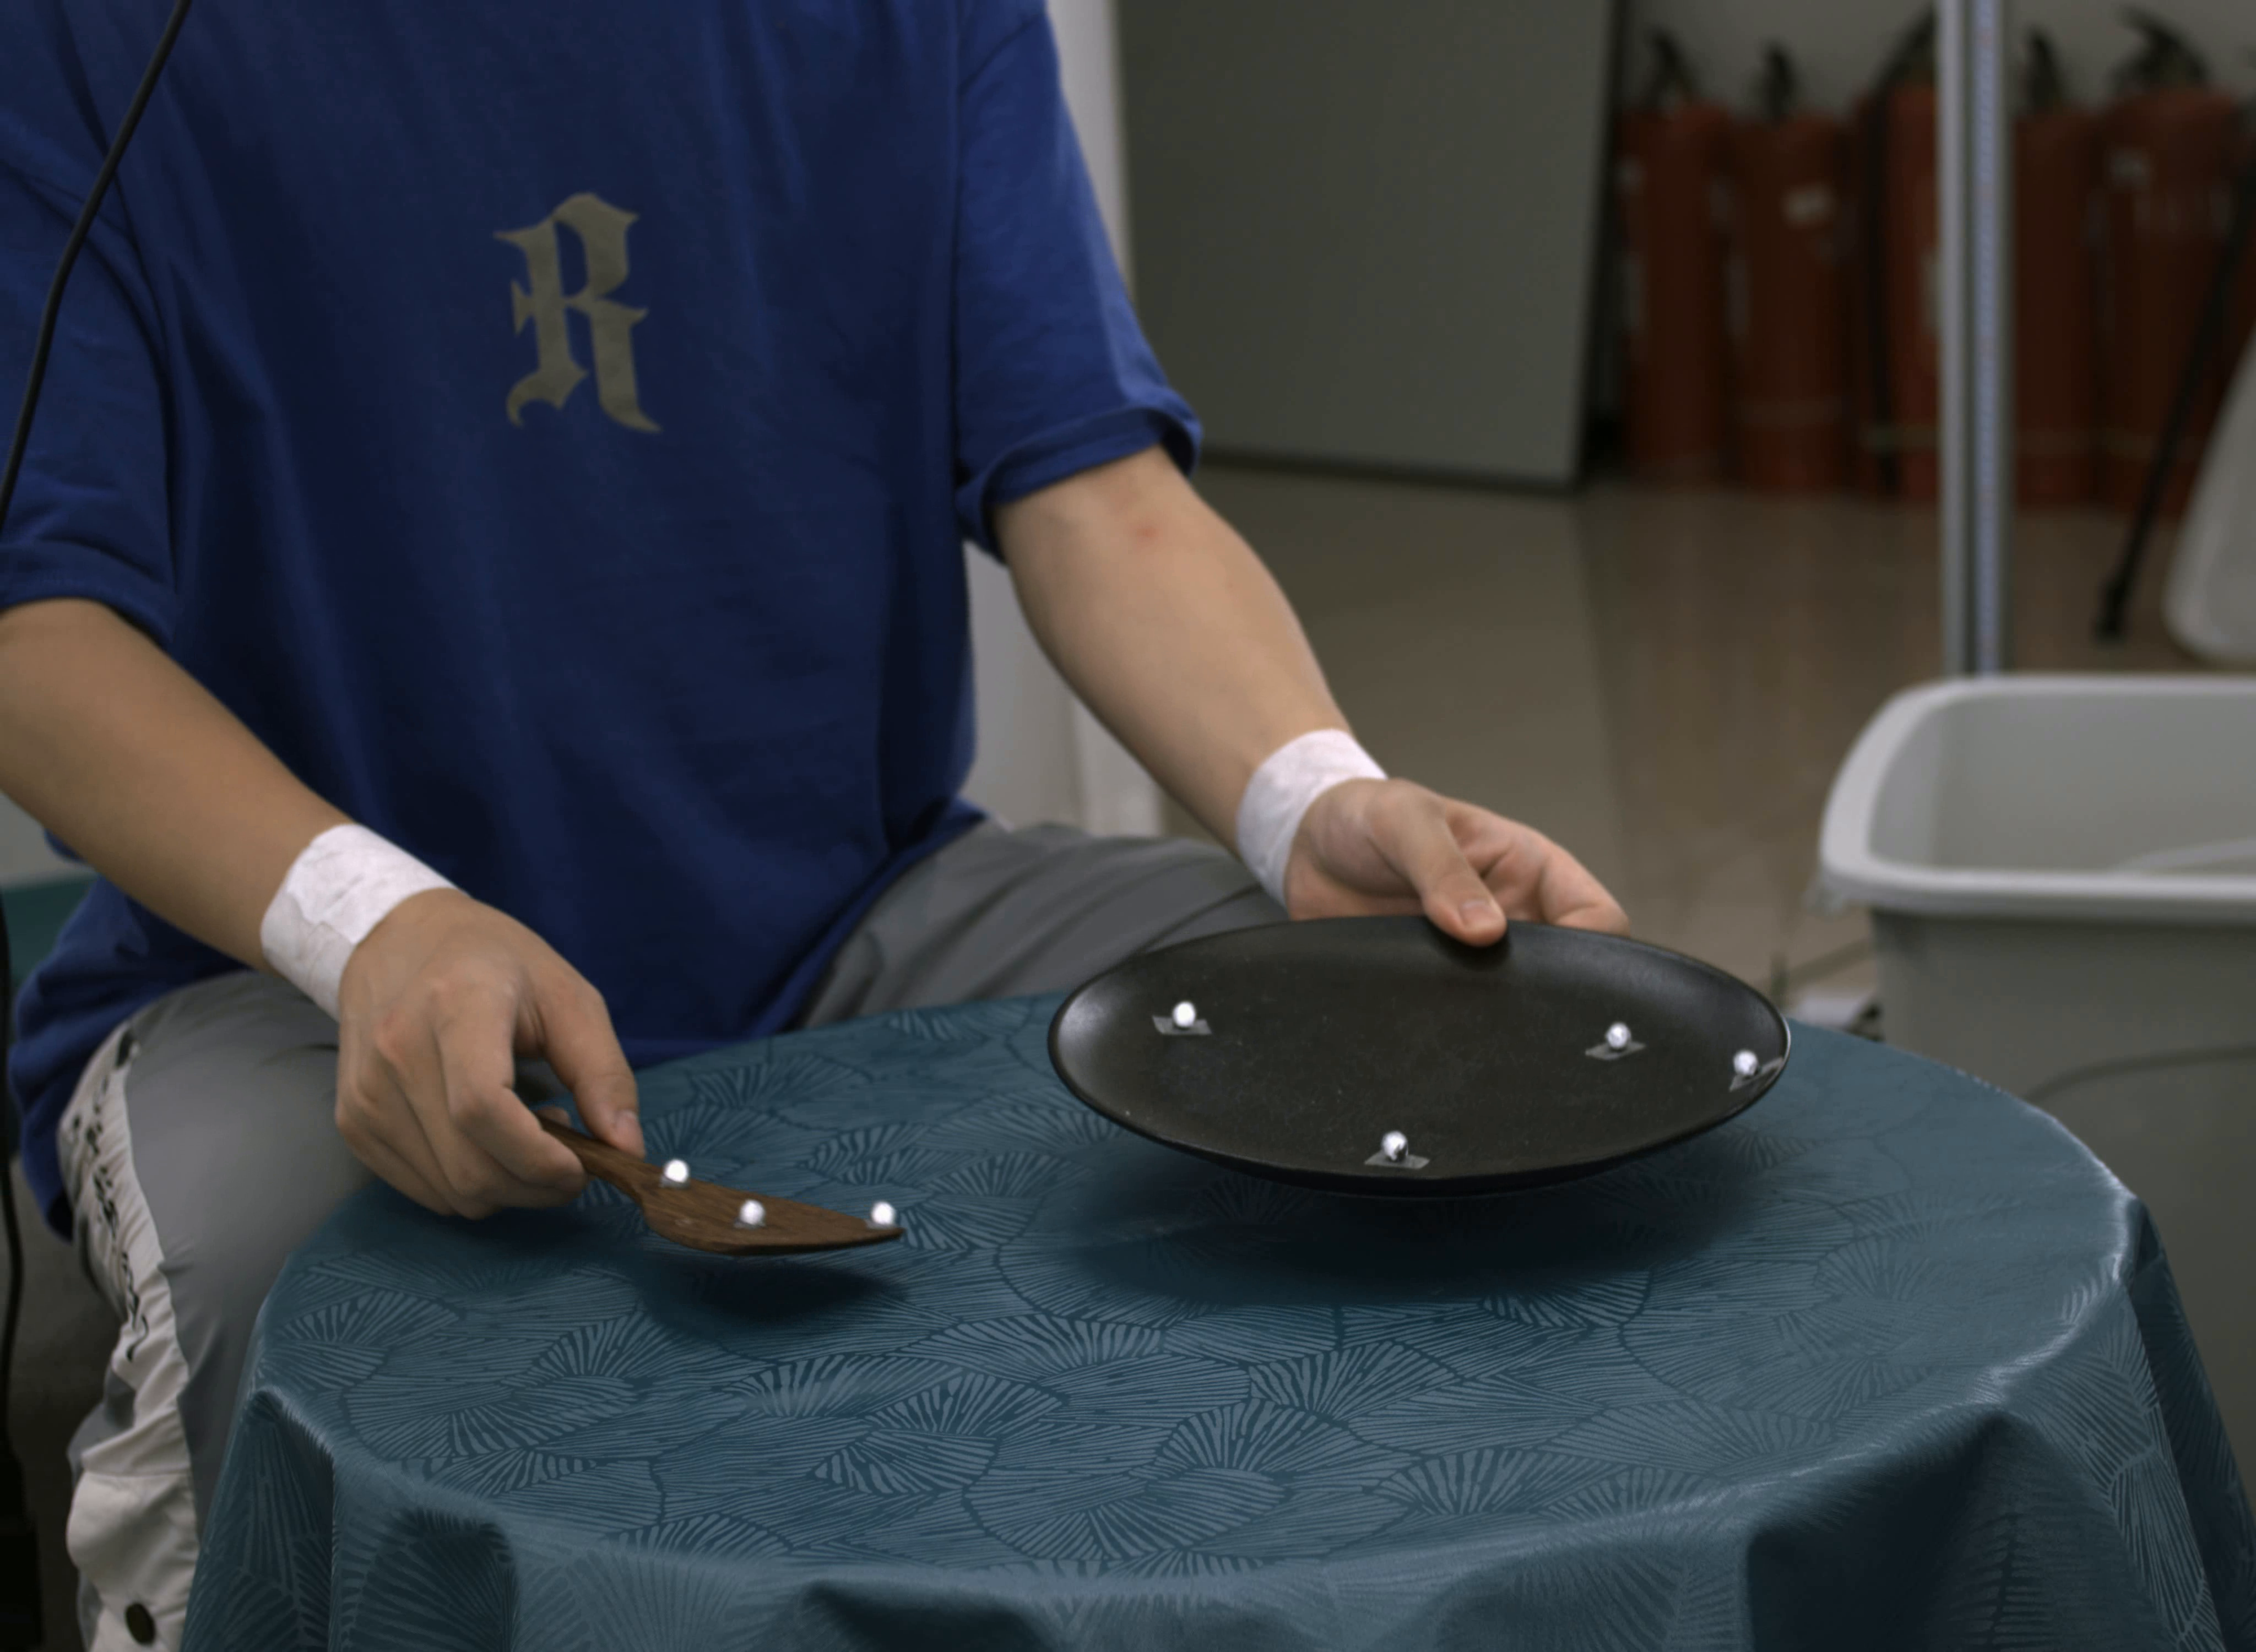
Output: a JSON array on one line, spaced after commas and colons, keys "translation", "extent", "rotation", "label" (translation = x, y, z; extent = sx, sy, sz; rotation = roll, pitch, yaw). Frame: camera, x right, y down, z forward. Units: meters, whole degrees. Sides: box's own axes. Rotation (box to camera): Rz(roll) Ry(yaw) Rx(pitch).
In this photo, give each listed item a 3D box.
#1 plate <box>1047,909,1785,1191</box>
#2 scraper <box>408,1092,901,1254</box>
[{"translation": [0.093, 0.076, 1.751], "extent": [0.241, 0.023, 0.245], "rotation": [-2, 18, 0], "label": "plate"}, {"translation": [-0.162, 0.112, 1.742], "extent": [0.074, 0.011, 0.213], "rotation": [0, 11, -43], "label": "scraper"}]
